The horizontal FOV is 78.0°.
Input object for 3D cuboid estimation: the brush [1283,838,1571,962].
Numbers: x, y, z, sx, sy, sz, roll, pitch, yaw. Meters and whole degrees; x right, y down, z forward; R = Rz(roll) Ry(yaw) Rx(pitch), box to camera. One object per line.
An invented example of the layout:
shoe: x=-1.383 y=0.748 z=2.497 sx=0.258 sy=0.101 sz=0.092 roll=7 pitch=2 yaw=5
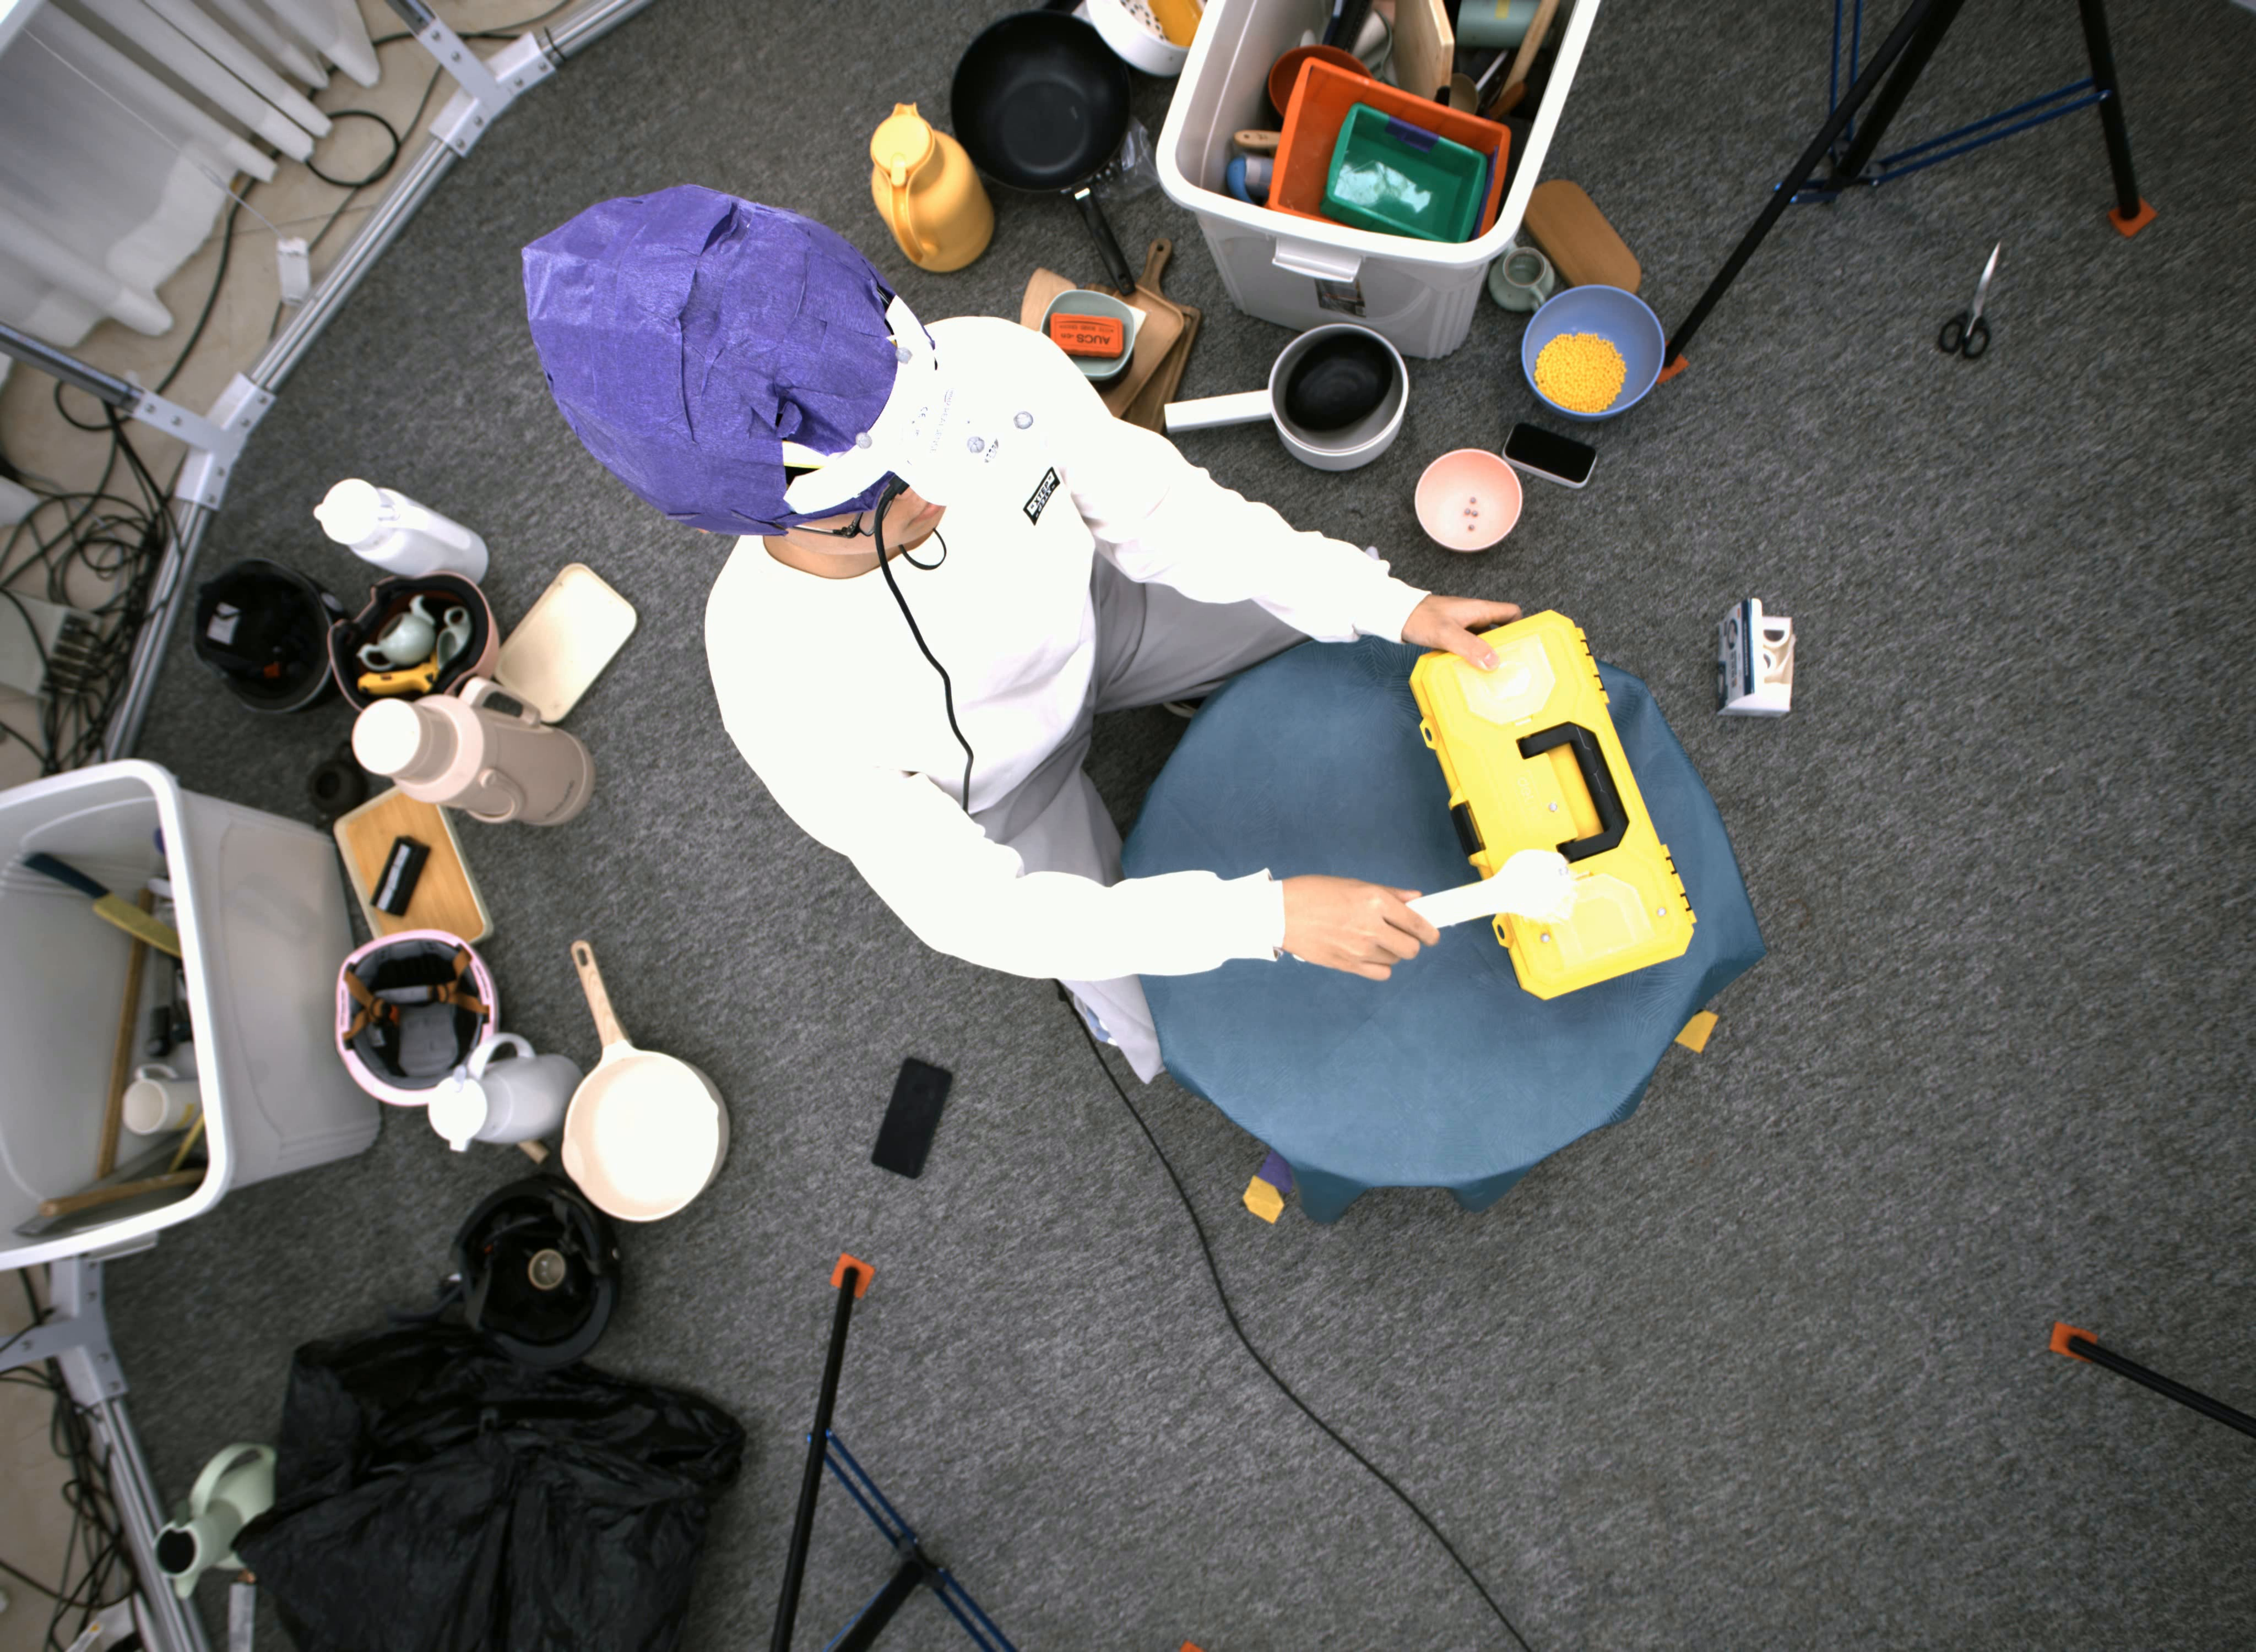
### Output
brush: x=0.272 y=0.073 z=1.263 sx=0.269 sy=0.056 sz=0.067 roll=-21 pitch=69 yaw=14

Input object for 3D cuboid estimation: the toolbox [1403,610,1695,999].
toolbox: x=0.407 y=-0.019 z=1.351 sx=0.182 sy=0.173 sz=0.349 roll=-19 pitch=82 yaw=8
